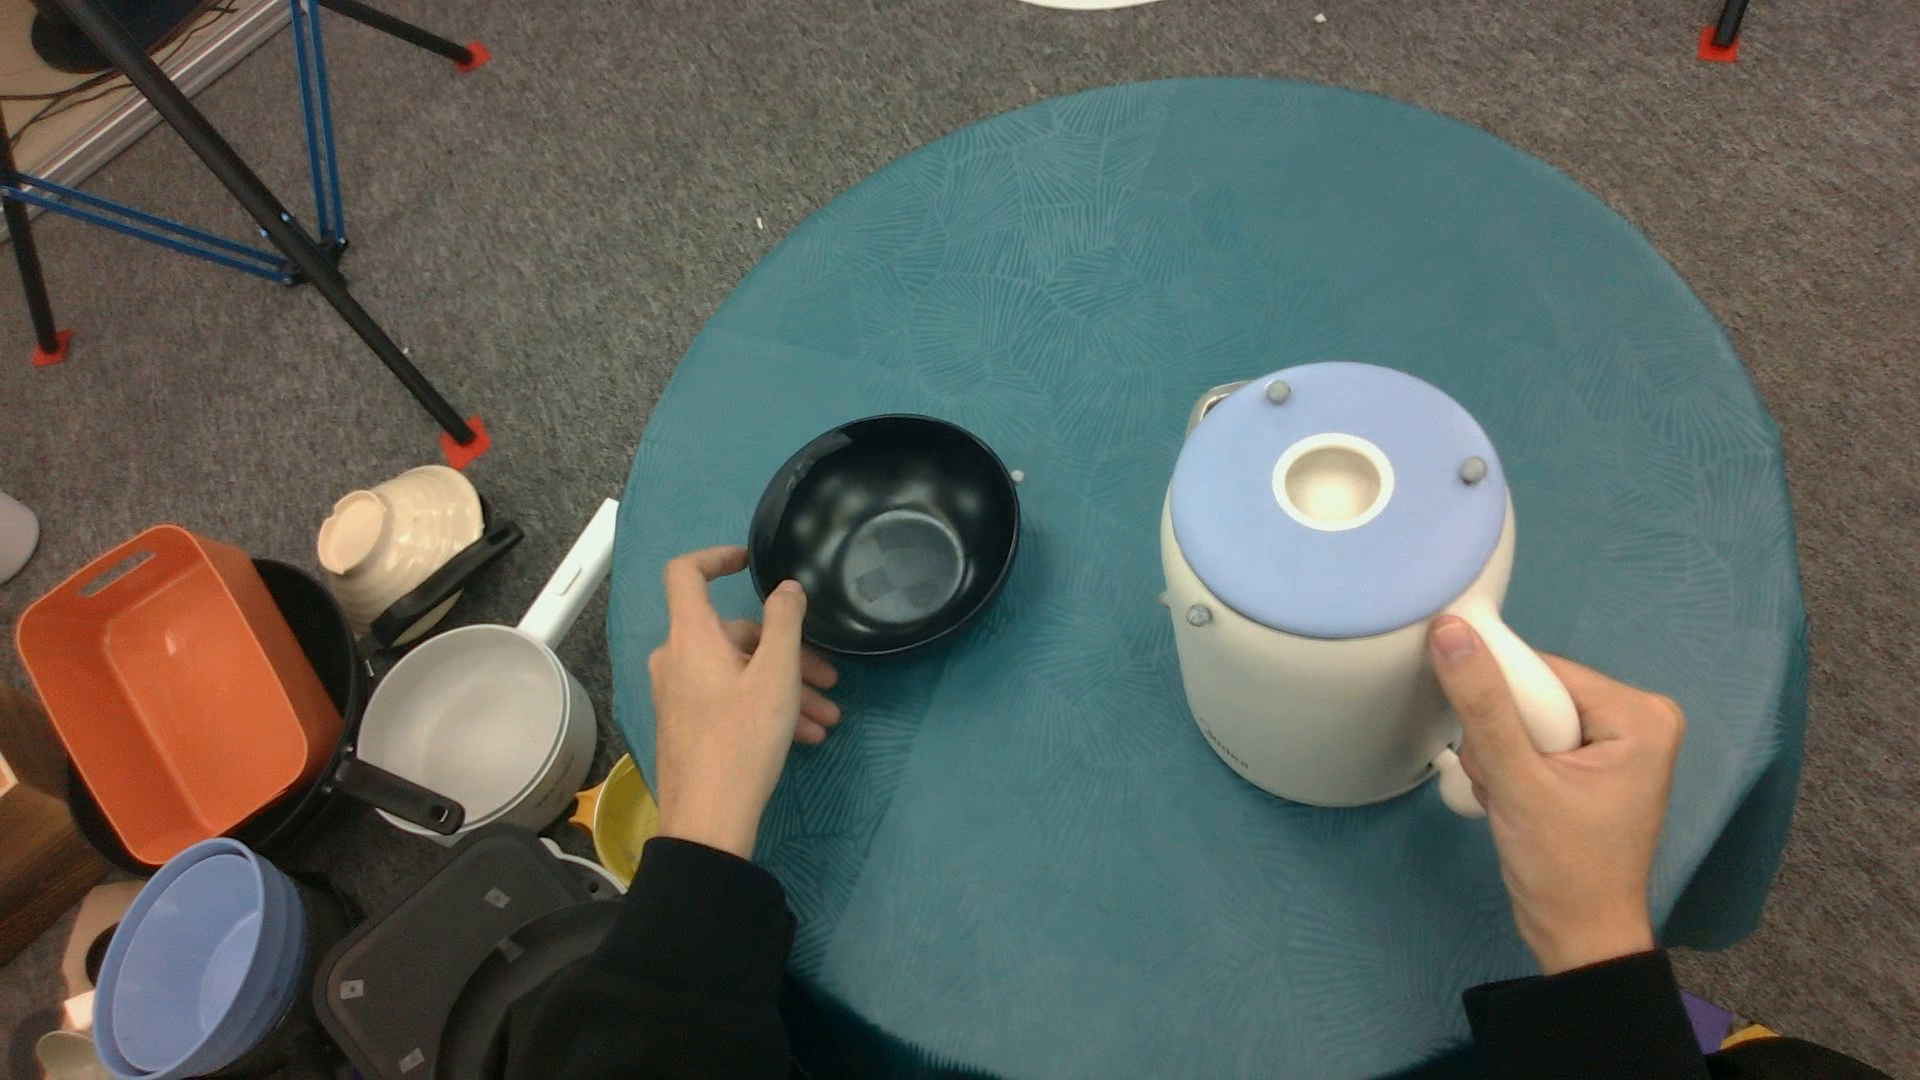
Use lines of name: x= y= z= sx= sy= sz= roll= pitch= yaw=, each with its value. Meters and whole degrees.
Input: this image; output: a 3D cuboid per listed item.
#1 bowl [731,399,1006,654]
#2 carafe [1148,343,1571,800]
bowl: x=-0.042 y=-0.001 z=0.698 sx=0.140 sy=0.049 sz=0.140 roll=-4 pitch=62 yaw=8
carafe: x=0.164 y=0.031 z=0.566 sx=0.132 sy=0.182 sz=0.191 roll=-41 pitch=62 yaw=-10
